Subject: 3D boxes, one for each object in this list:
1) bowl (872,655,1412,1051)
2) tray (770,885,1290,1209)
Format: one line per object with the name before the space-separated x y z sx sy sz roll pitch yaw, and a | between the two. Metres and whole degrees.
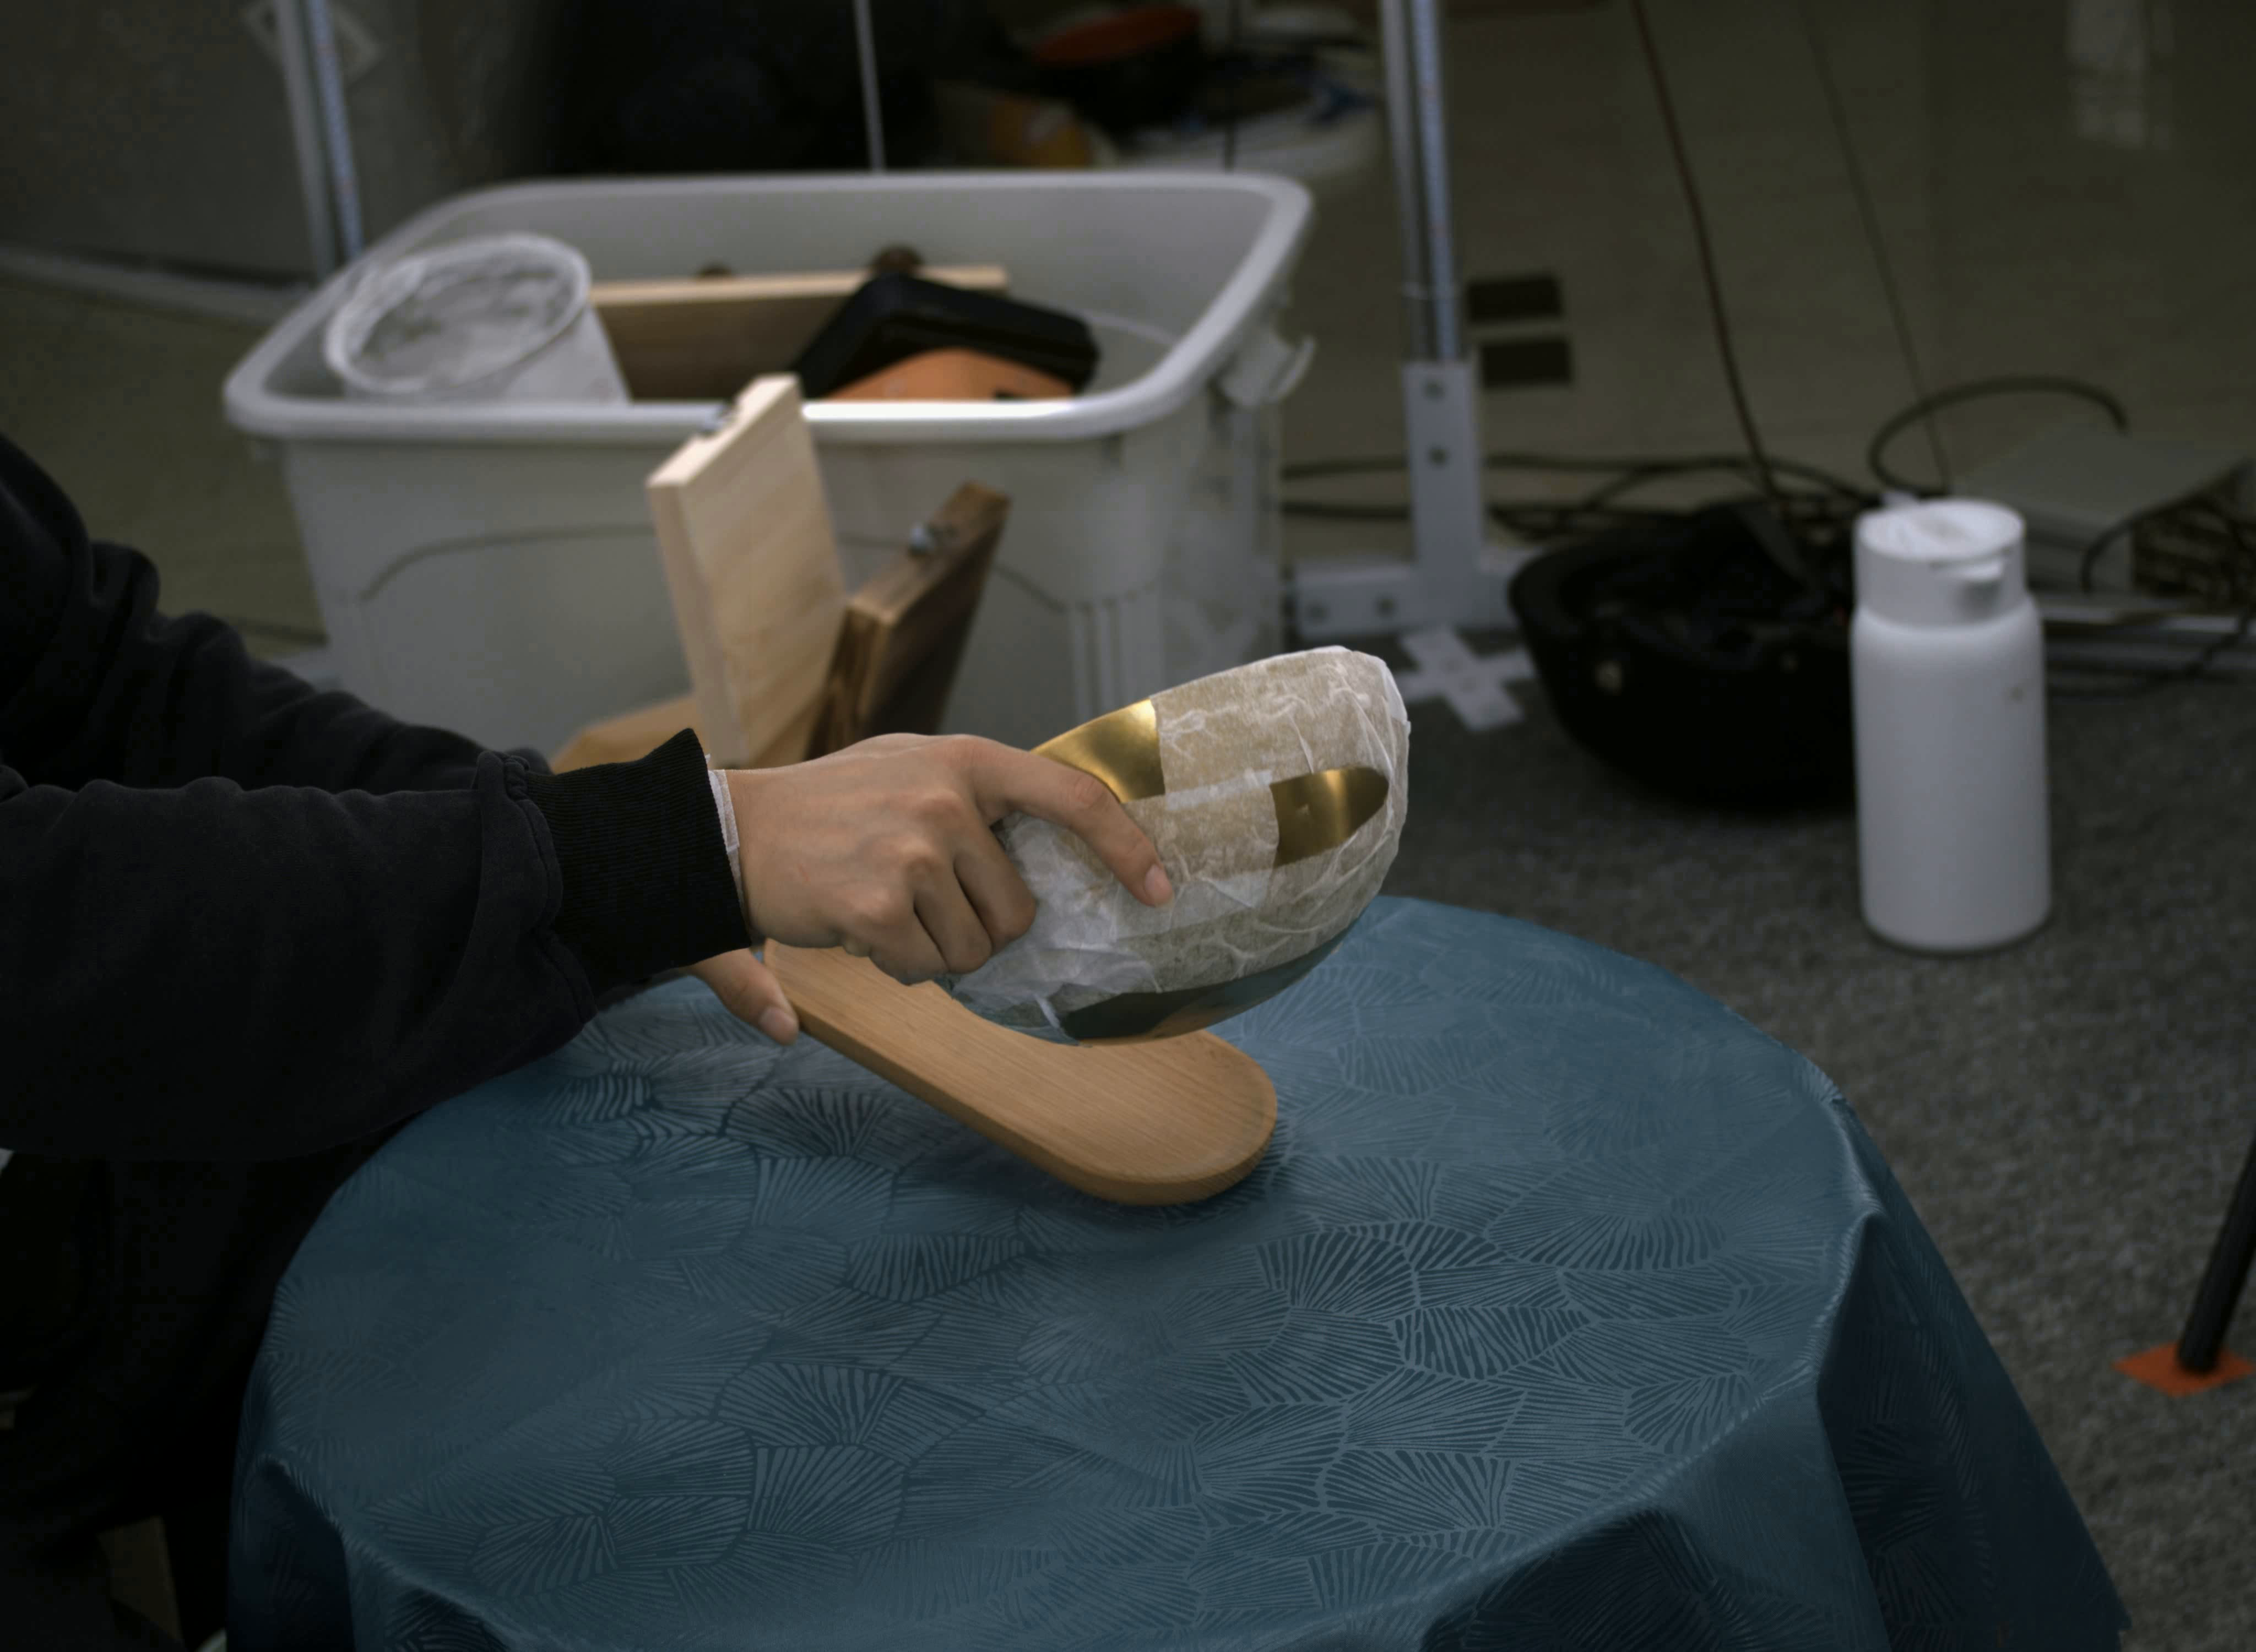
bowl | 0.015 0.025 2.027 0.214 0.094 0.216 -22 -11 -4
tray | -0.040 0.085 2.197 0.229 0.021 0.100 29 44 27
